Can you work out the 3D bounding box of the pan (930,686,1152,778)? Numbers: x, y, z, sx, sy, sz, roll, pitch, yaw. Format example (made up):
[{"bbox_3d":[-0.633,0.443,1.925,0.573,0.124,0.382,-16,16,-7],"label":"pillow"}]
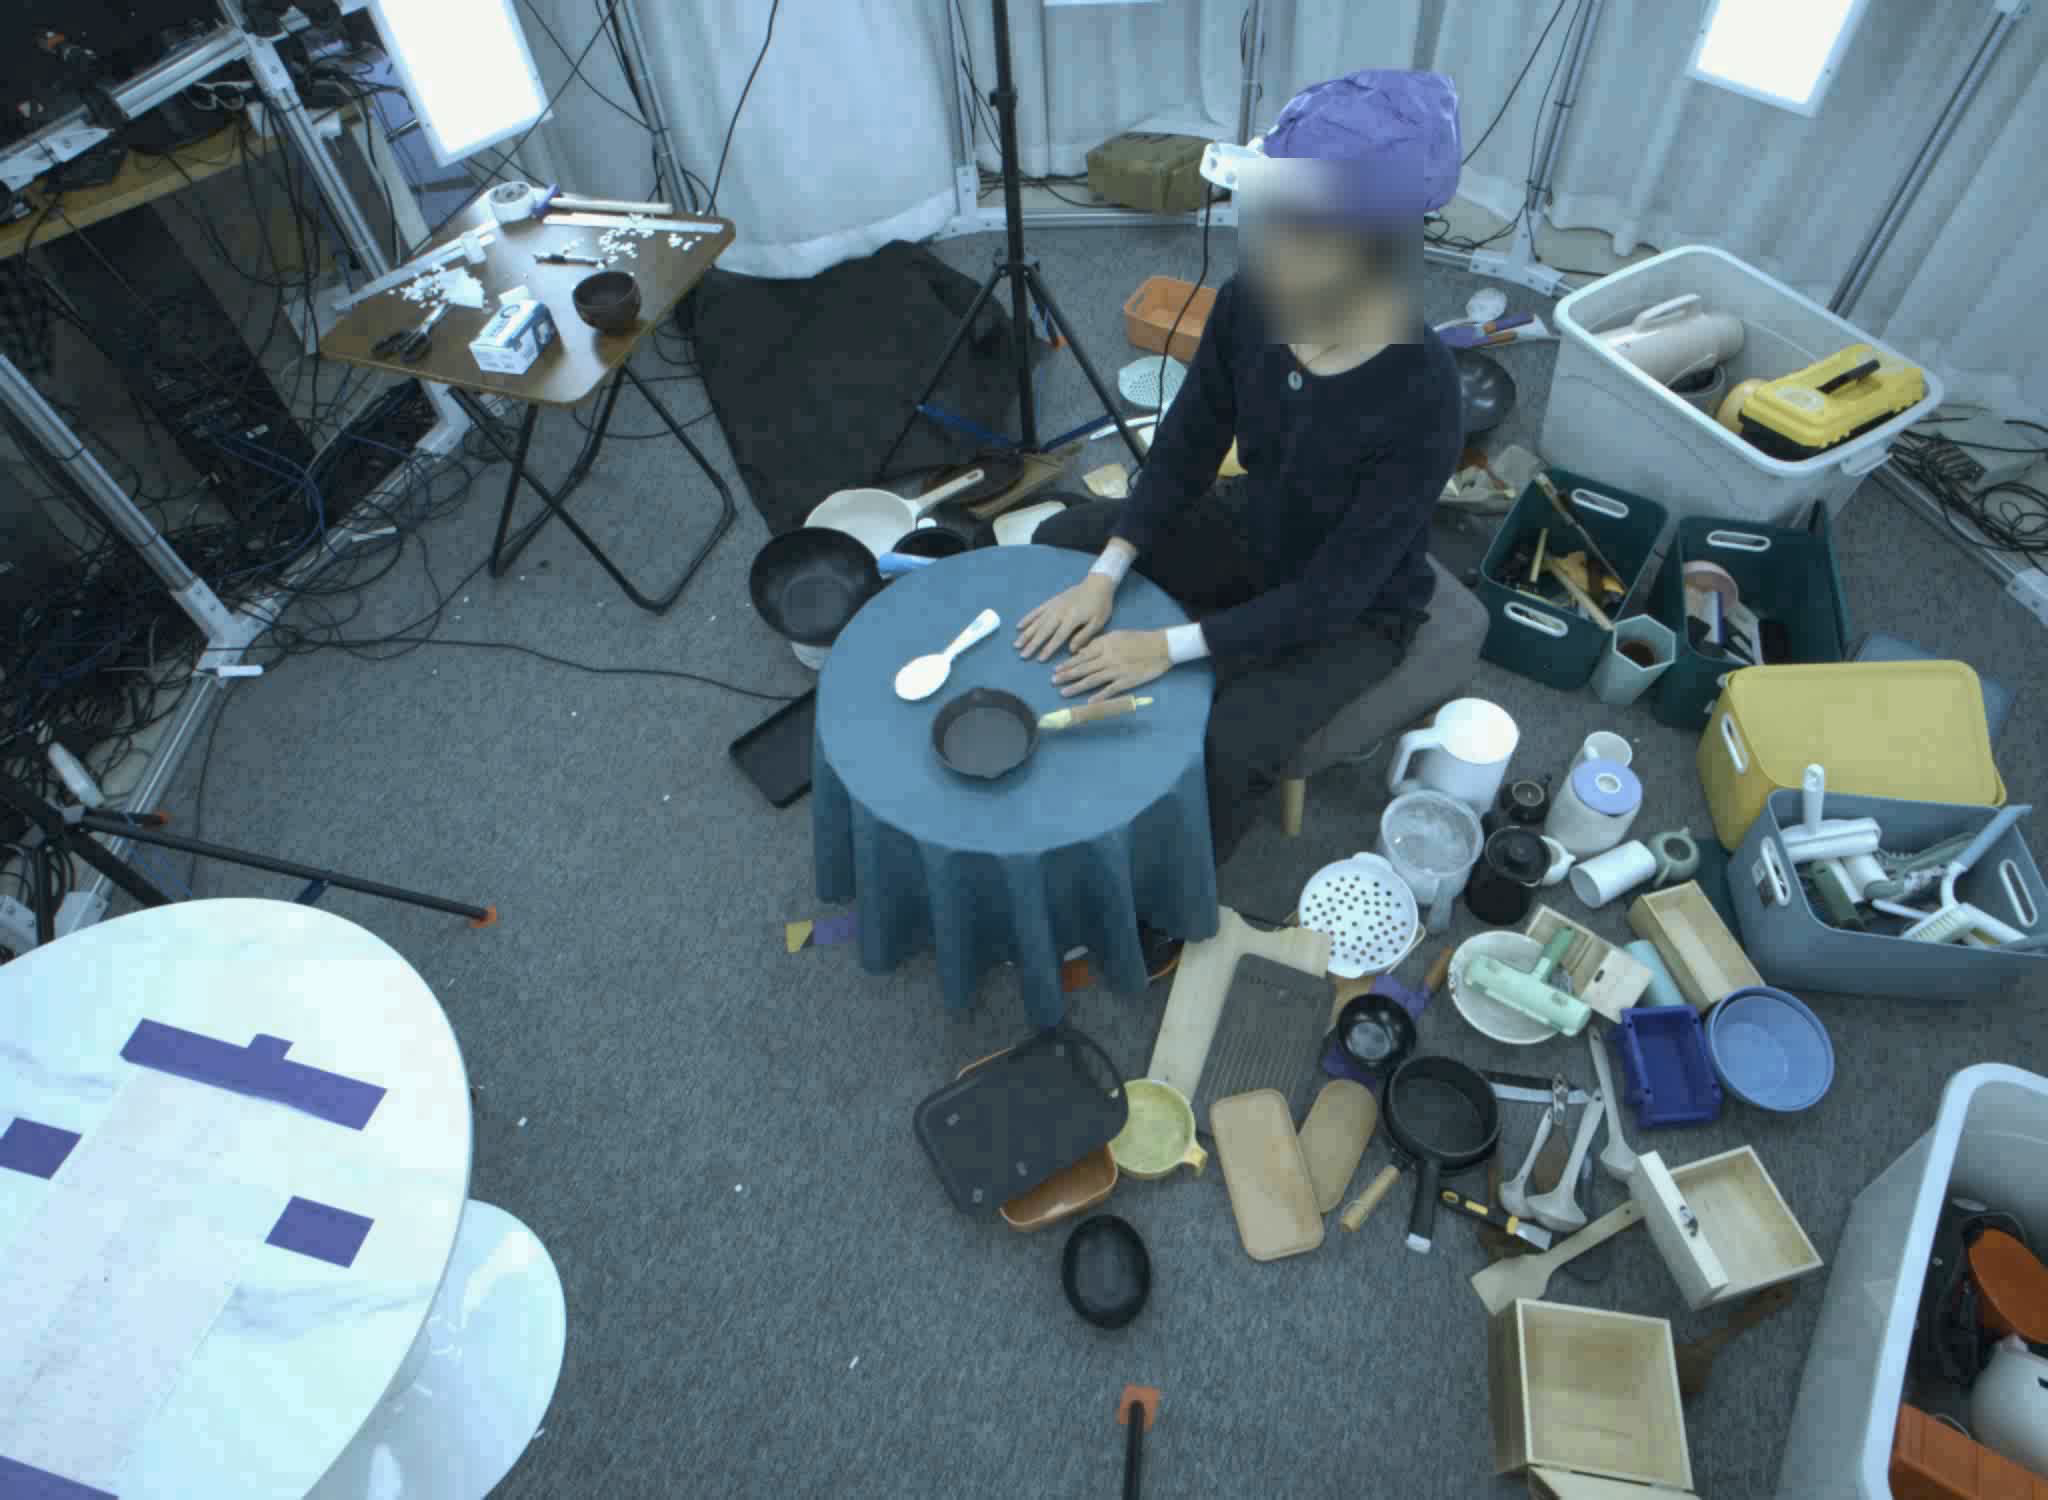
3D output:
[{"bbox_3d":[0.026,-0.037,1.781,0.325,0.050,0.166,-9,55,-2],"label":"pan"}]

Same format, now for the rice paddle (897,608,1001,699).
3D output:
[{"bbox_3d":[-0.115,-0.146,1.877,0.067,0.030,0.206,34,62,26],"label":"rice paddle"}]
